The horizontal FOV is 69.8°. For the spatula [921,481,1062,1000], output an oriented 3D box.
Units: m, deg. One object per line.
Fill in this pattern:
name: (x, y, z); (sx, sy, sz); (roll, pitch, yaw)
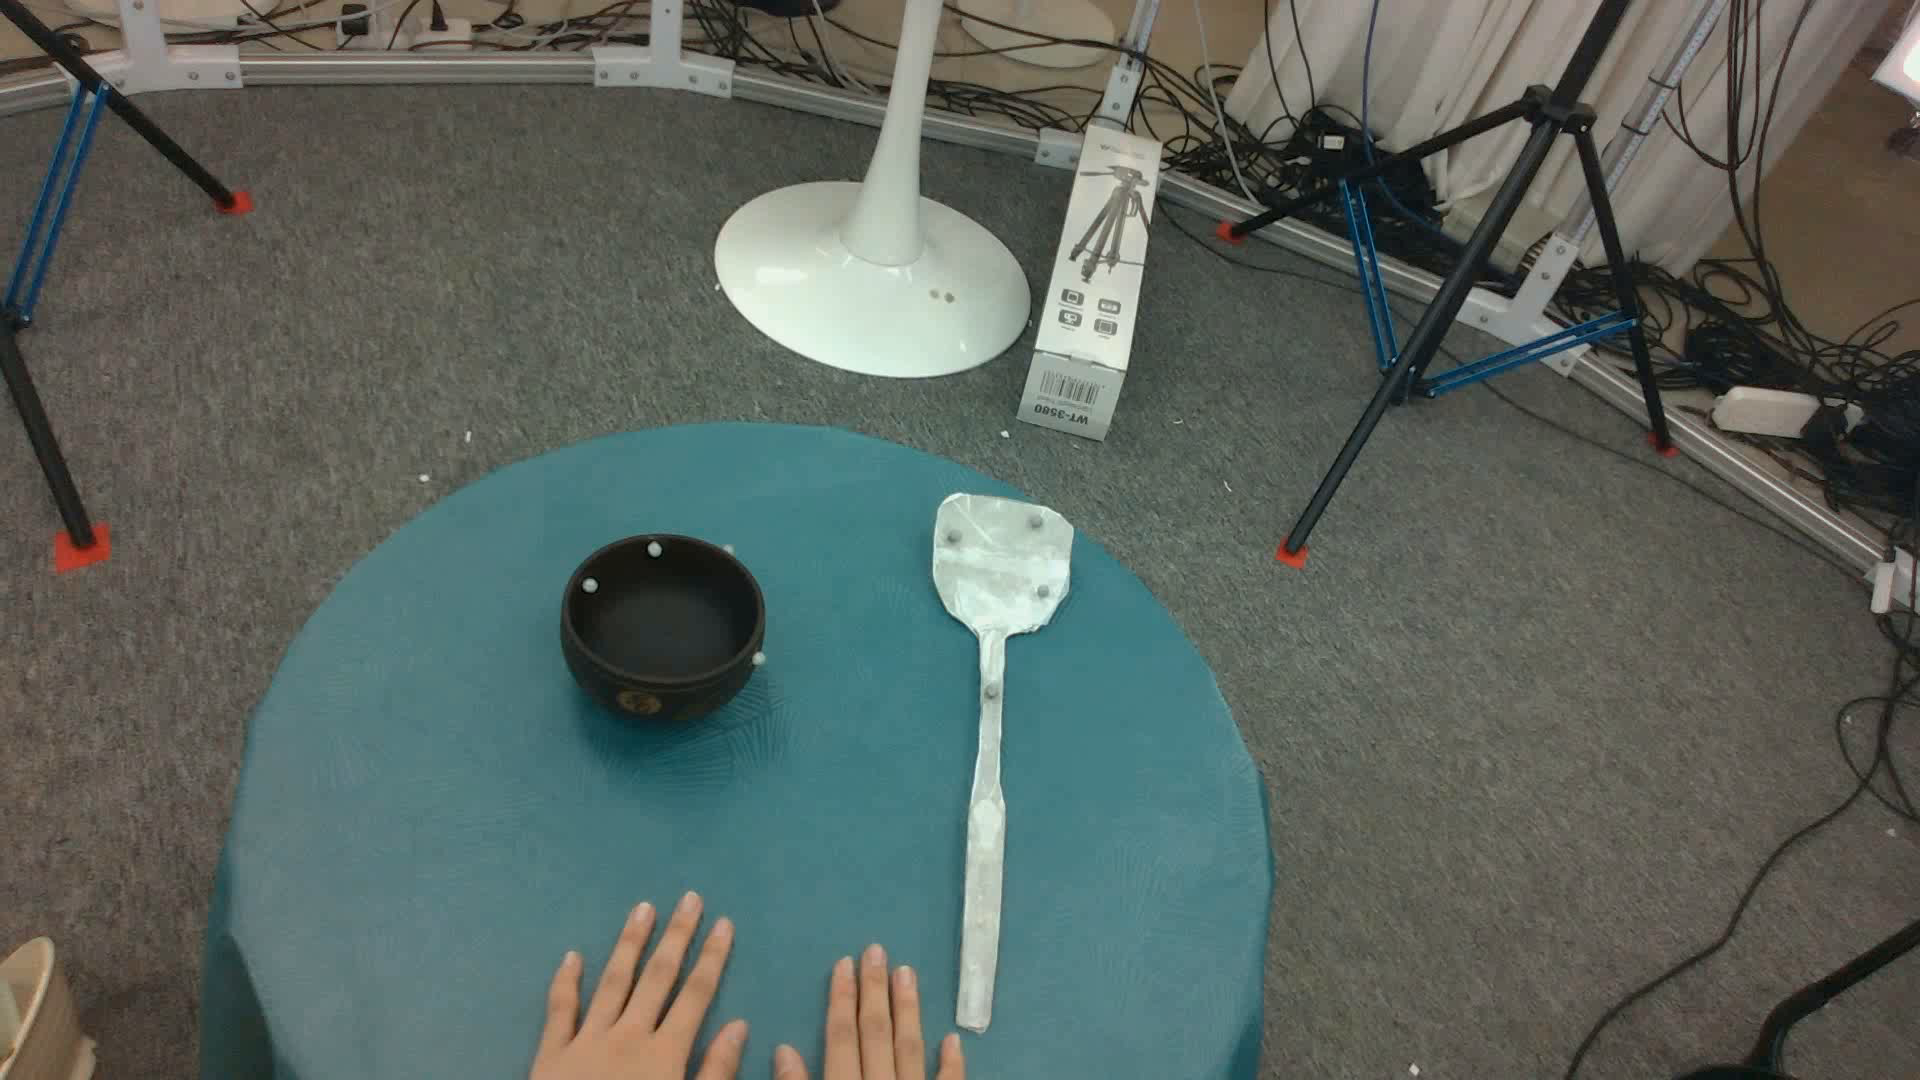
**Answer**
spatula: (0.010, 0.105, 0.851); (0.099, 0.044, 0.366); (13, 45, -7)

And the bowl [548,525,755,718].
bowl: (-0.183, 0.056, 0.817); (0.118, 0.069, 0.118); (7, 46, -8)
